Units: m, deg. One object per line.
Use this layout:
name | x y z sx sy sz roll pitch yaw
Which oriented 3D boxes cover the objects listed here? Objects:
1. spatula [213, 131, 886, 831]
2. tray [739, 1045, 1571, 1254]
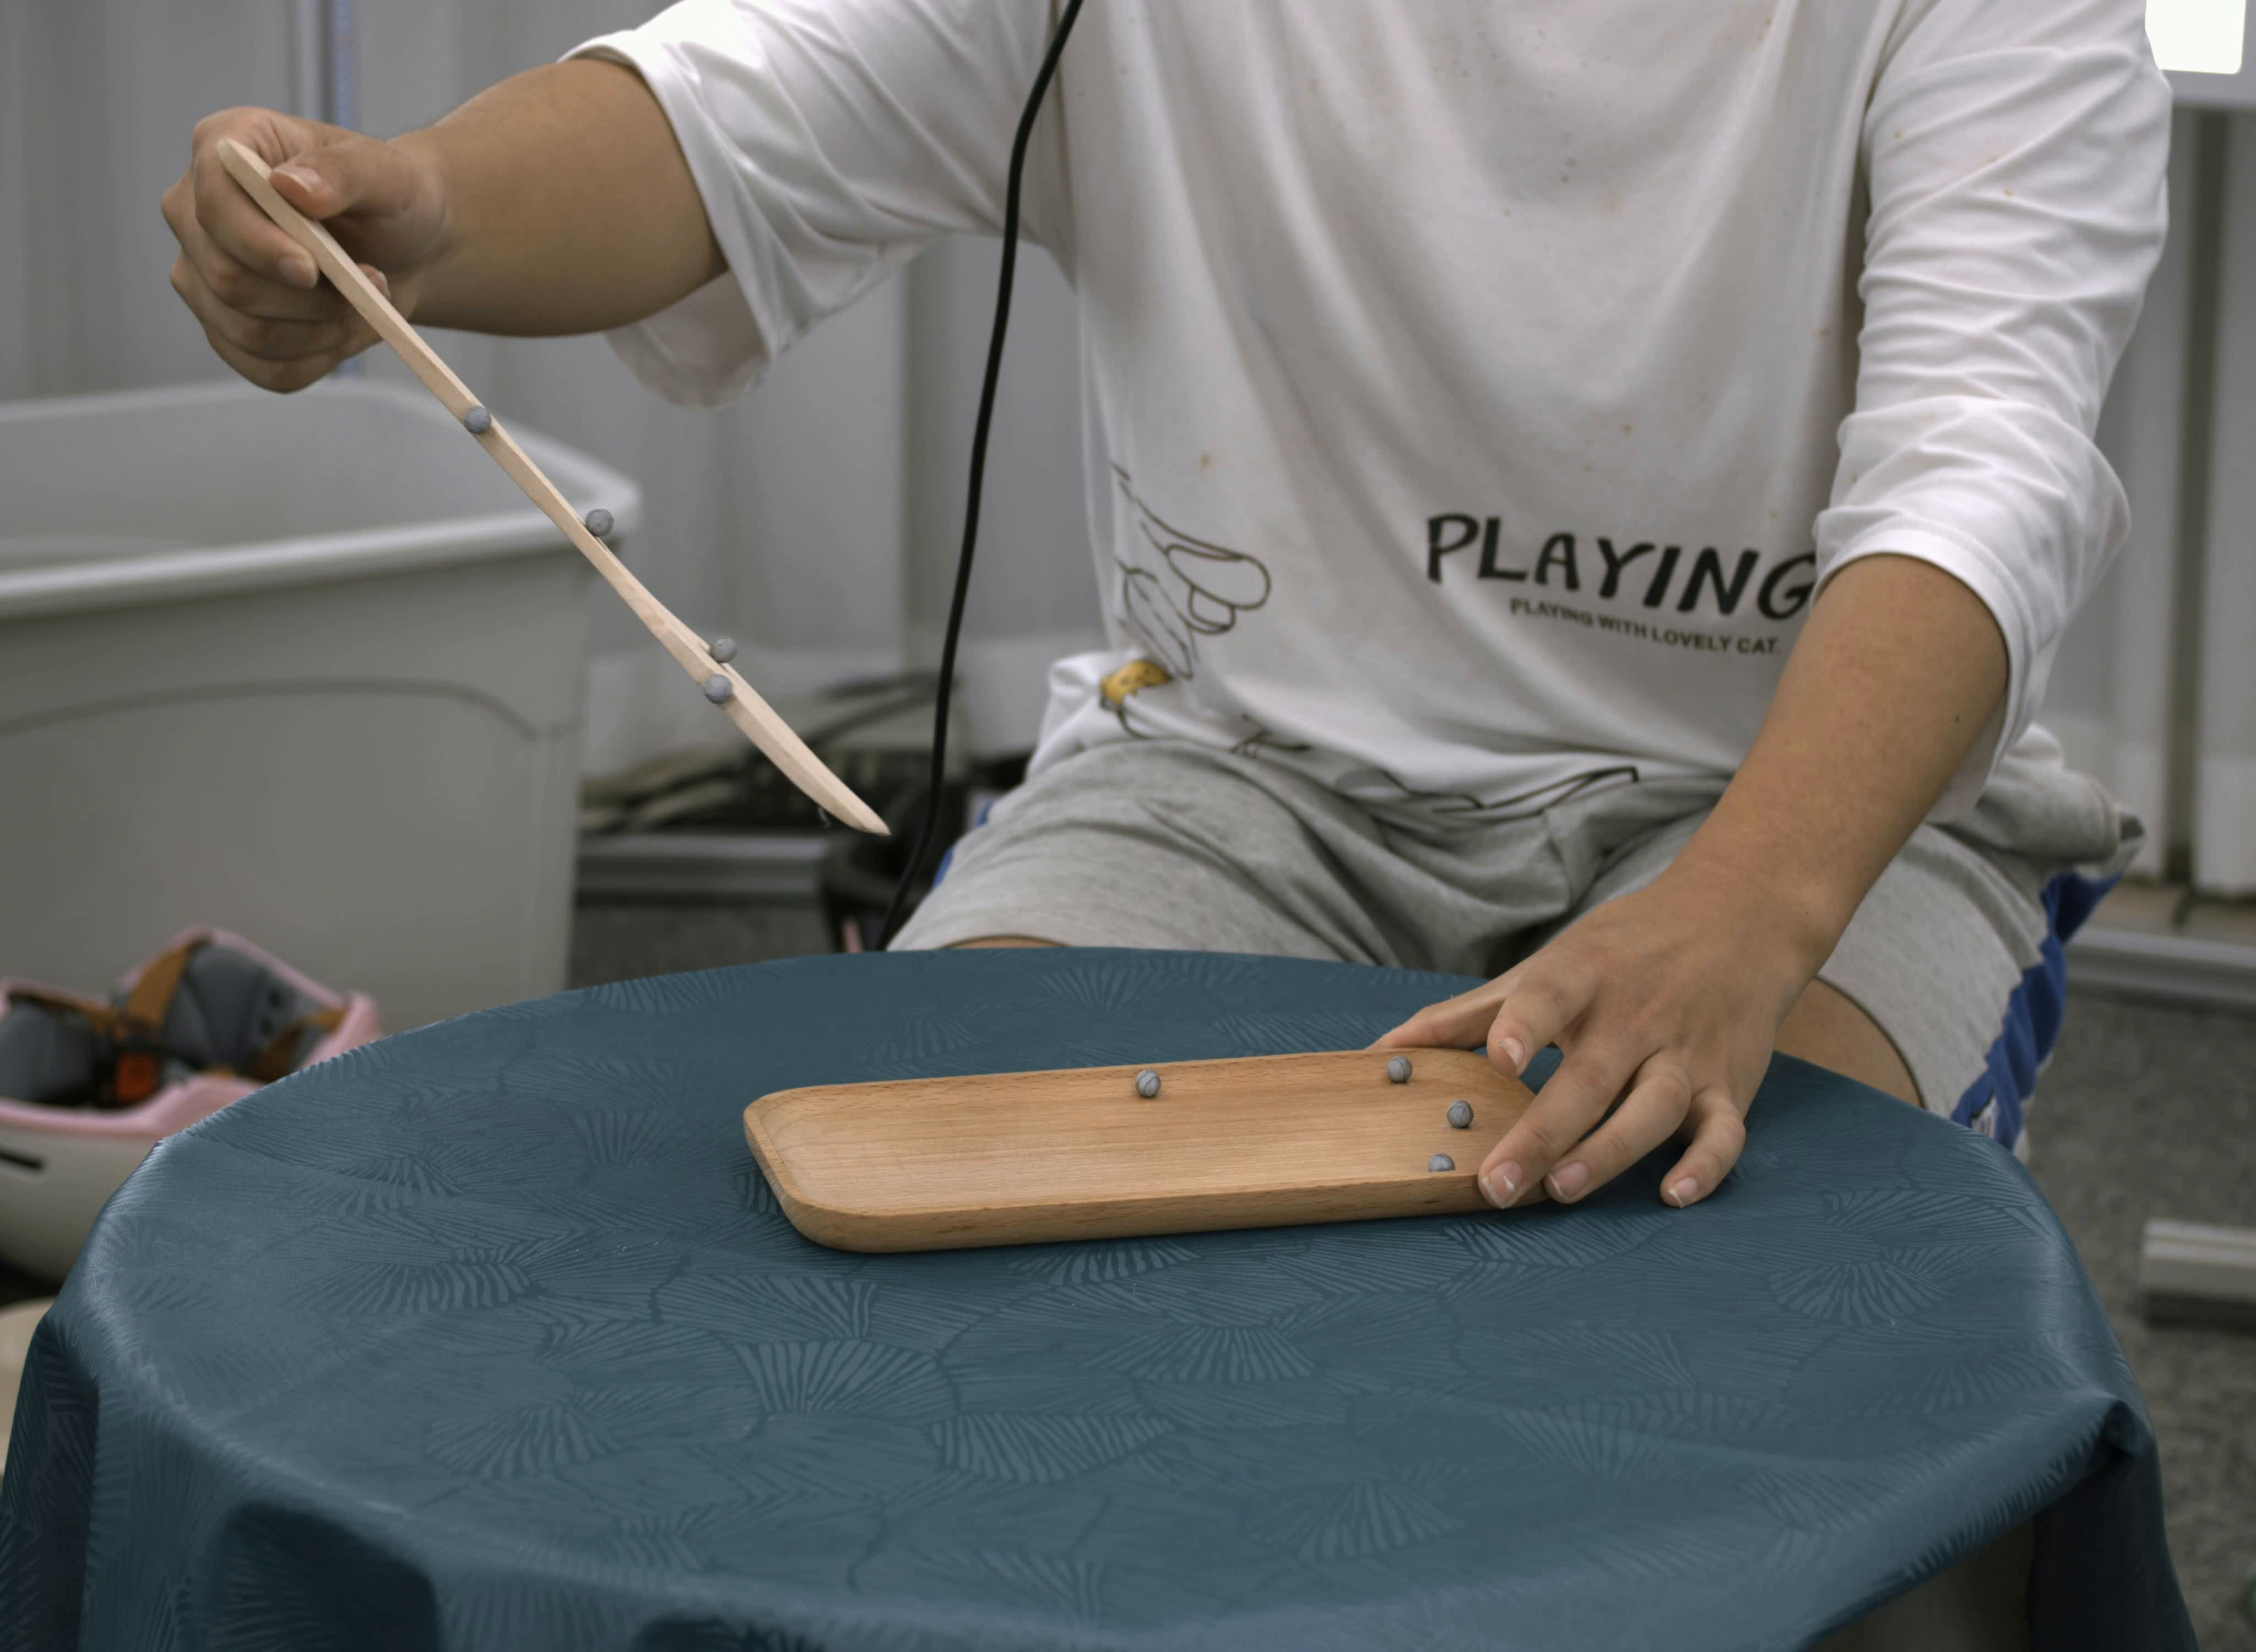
spatula | -0.178 -0.104 1.599 0.292 0.010 0.072 47 3 3
tray | 0.008 0.100 1.647 0.251 0.023 0.129 -4 14 -13
